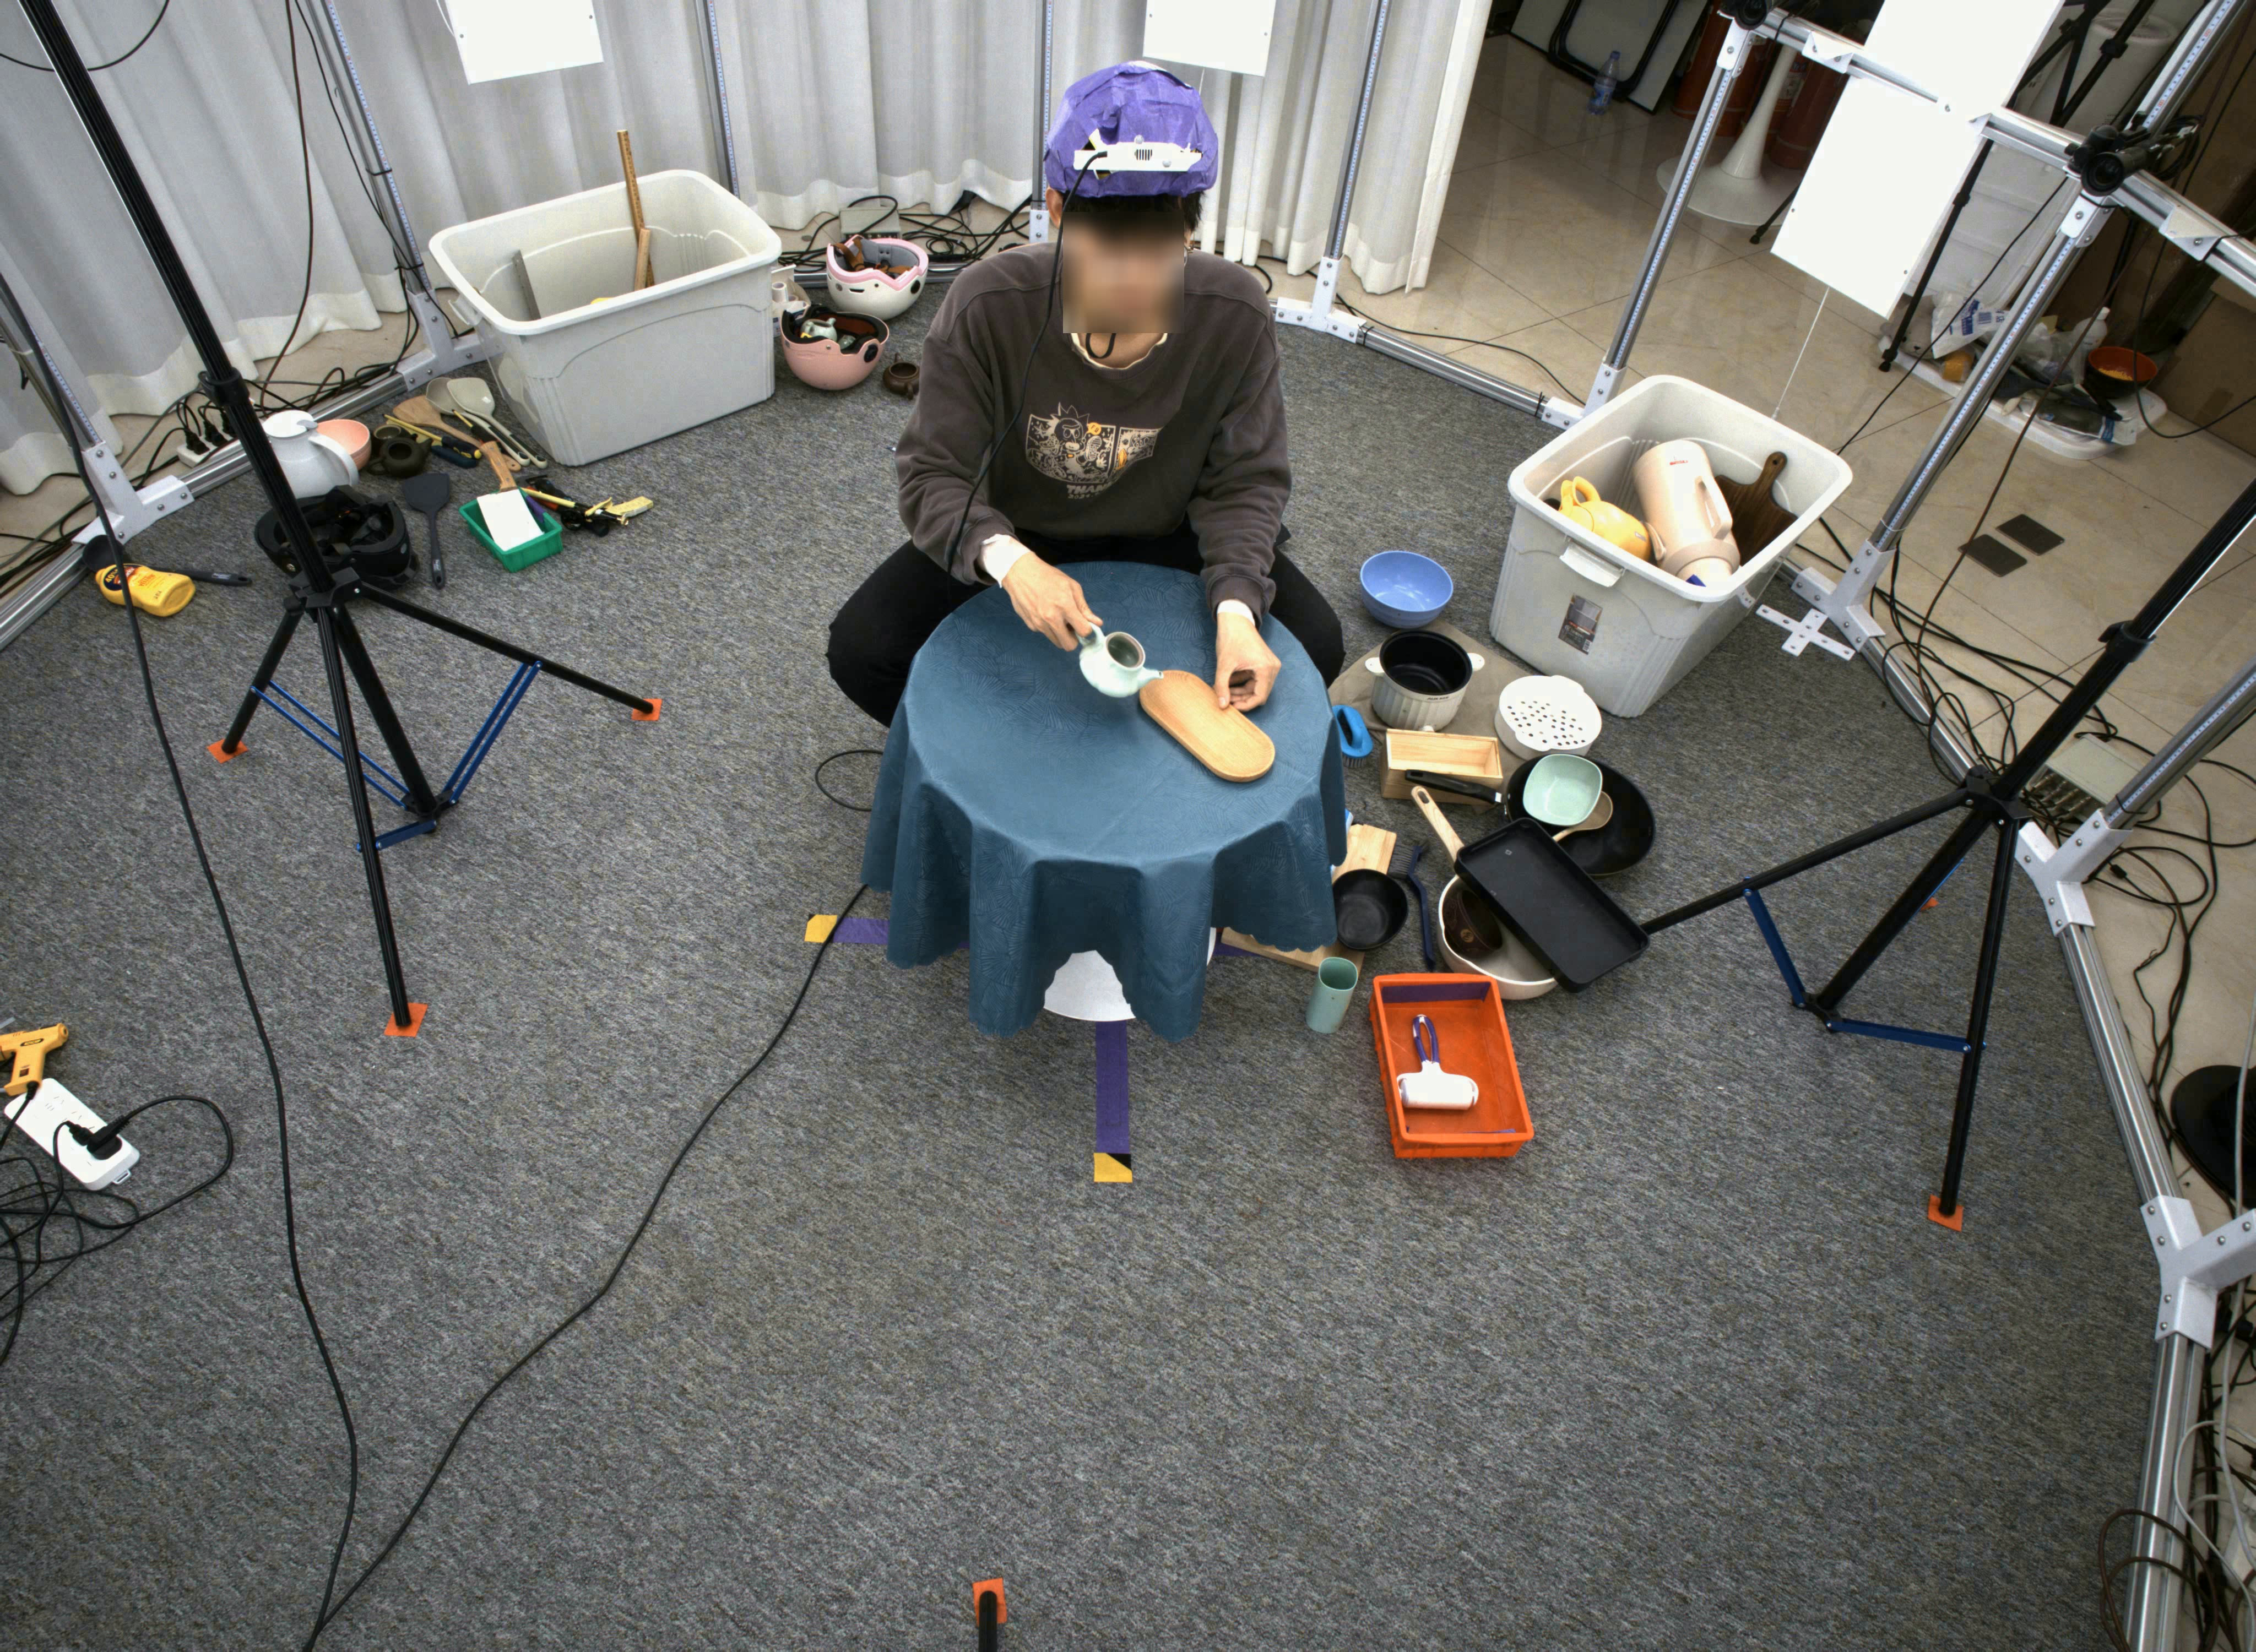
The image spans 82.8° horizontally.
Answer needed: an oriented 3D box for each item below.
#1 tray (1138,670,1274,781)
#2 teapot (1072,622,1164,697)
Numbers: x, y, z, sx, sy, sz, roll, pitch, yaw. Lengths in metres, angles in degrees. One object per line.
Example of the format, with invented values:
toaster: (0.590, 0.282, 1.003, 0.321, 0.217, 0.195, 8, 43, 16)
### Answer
tray: (0.106, -0.142, 1.784, 0.102, 0.020, 0.235, -30, 56, -27)
teapot: (-0.021, -0.228, 1.750, 0.136, 0.060, 0.098, 33, 50, -9)
